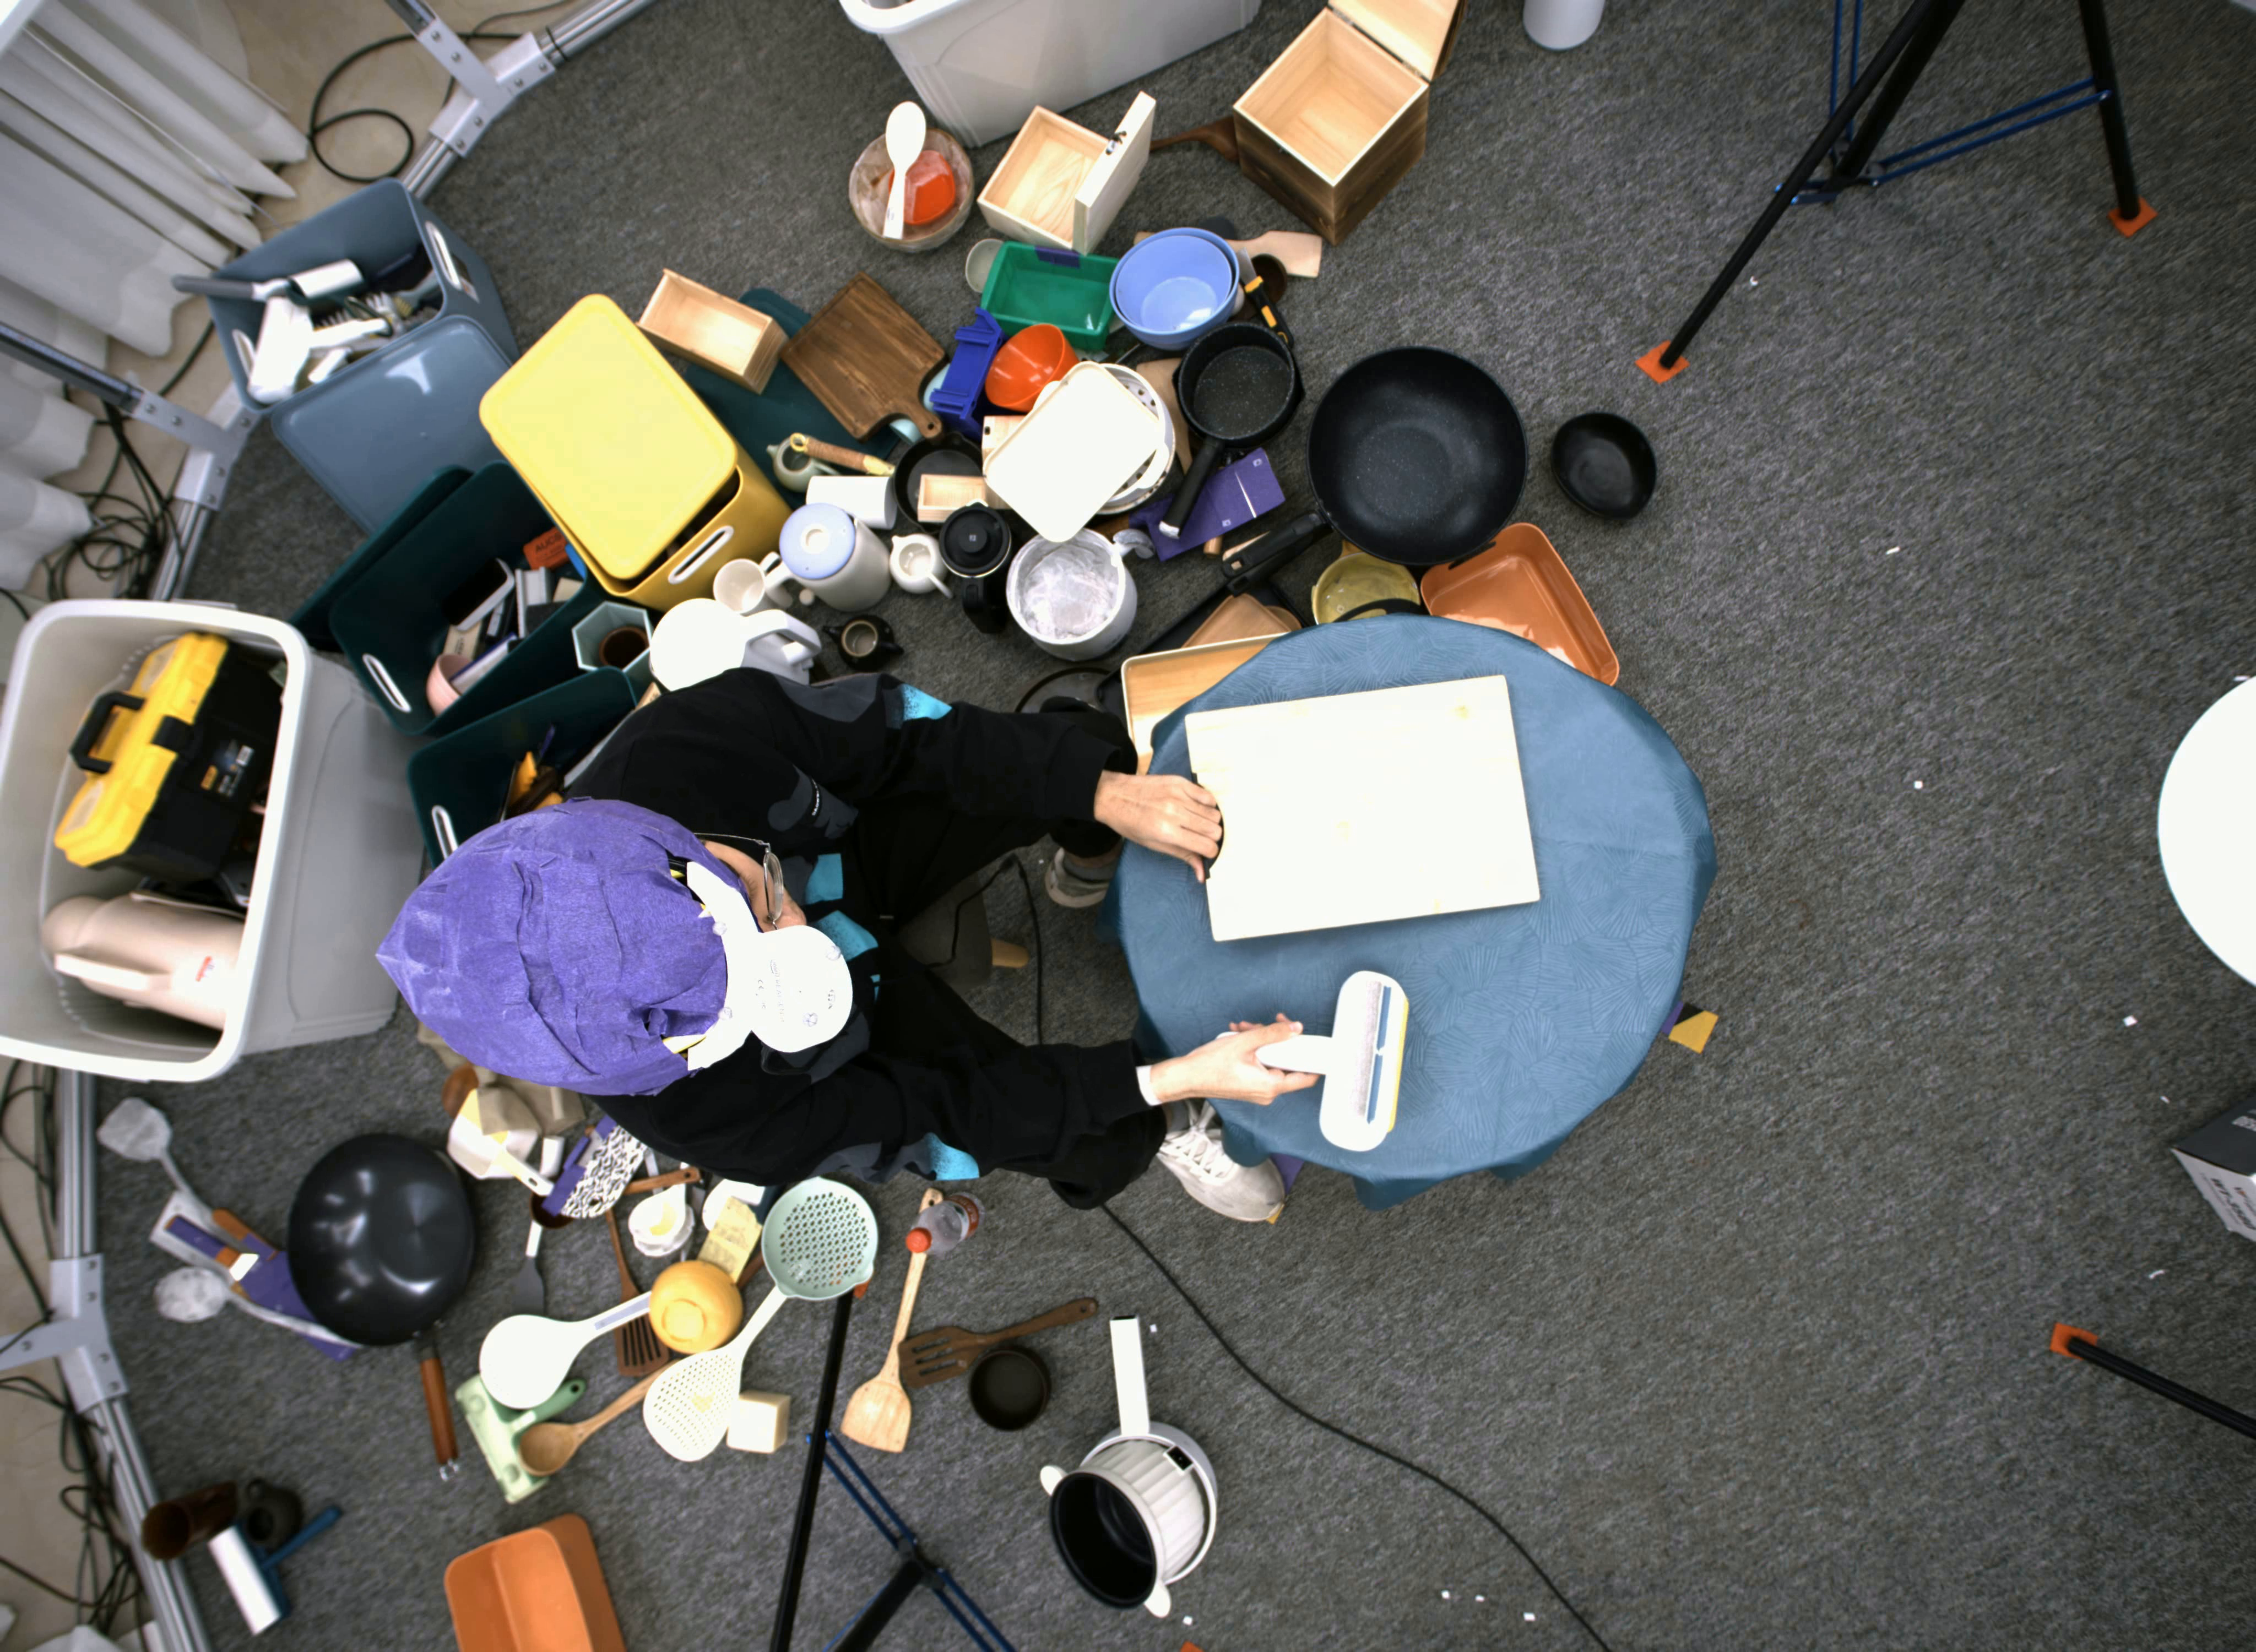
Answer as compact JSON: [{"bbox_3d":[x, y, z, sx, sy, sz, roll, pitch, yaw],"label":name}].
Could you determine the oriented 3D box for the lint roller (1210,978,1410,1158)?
[{"bbox_3d":[0.177,0.230,1.395,0.193,0.076,0.188,12,59,11],"label":"lint roller"}]

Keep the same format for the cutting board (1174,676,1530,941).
[{"bbox_3d":[0.235,-0.020,1.434,0.349,0.023,0.249,-8,86,2],"label":"cutting board"}]
